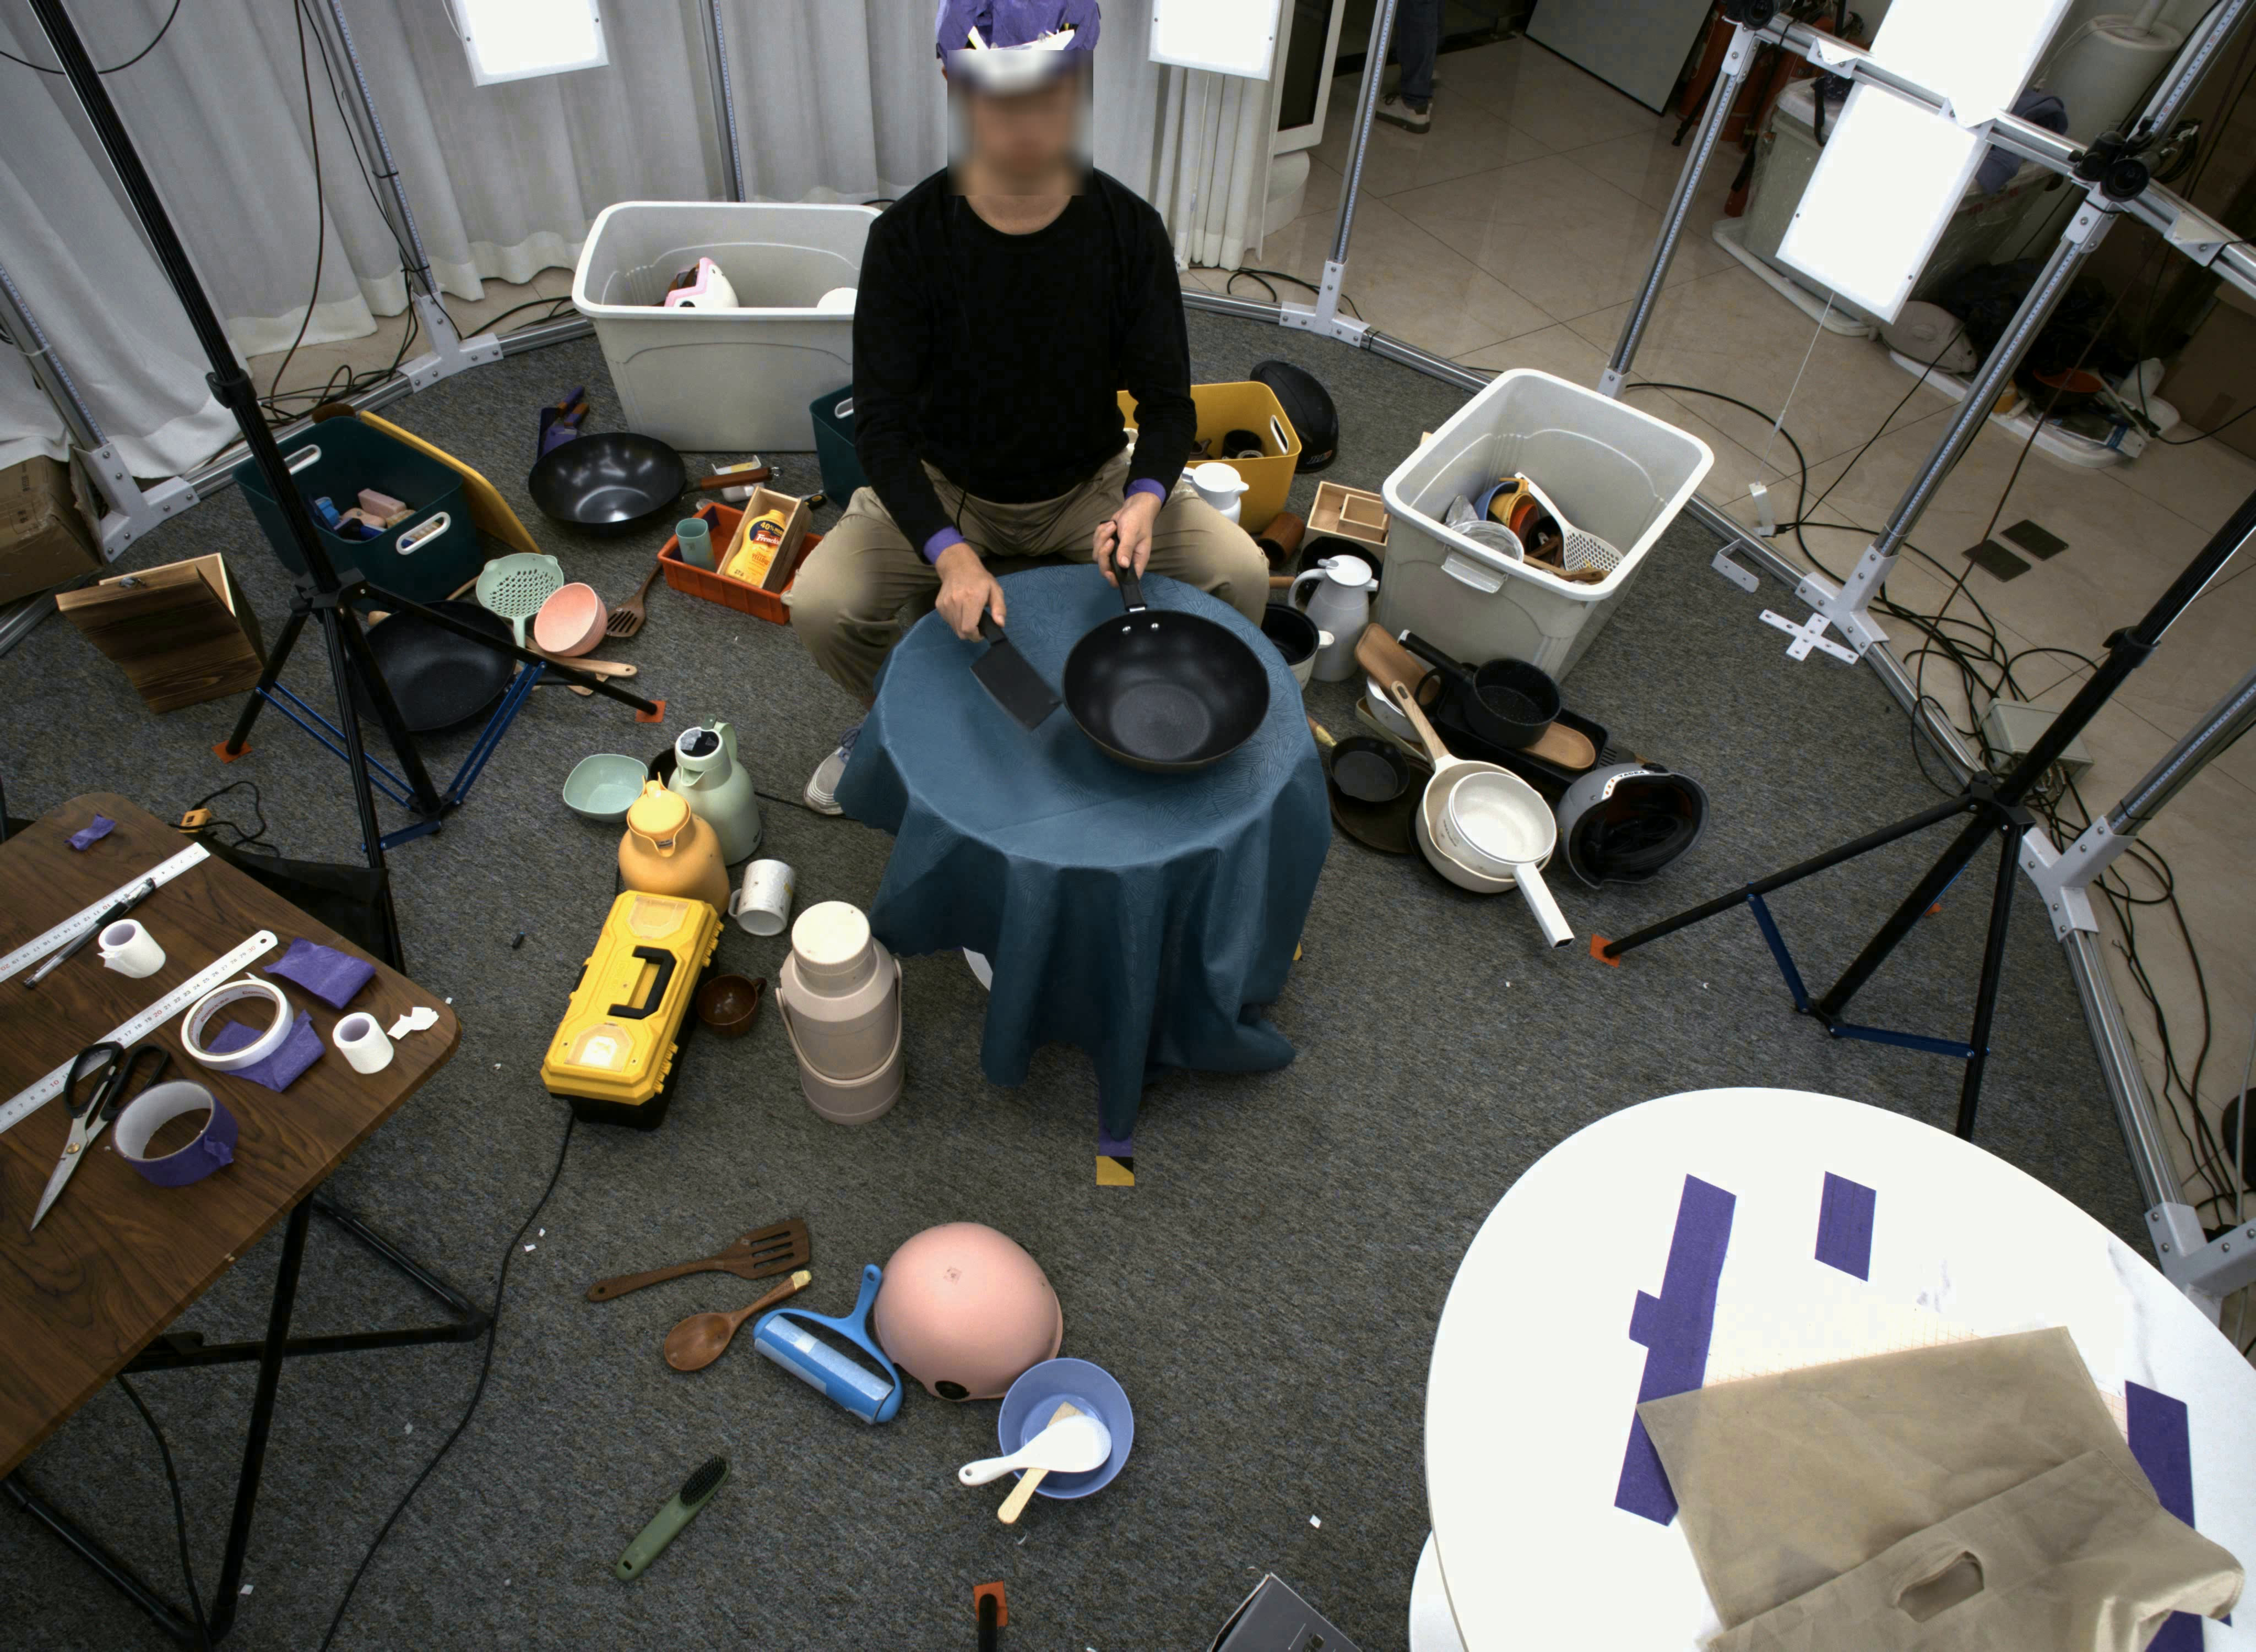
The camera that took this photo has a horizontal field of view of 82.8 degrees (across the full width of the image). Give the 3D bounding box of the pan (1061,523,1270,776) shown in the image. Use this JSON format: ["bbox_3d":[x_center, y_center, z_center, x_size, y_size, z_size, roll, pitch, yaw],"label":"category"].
[{"bbox_3d":[0.026,-0.243,1.811,0.288,0.085,0.474,-9,55,-12],"label":"pan"}]

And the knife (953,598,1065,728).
[{"bbox_3d":[-0.174,-0.229,1.752,0.081,0.020,0.309,-41,47,5],"label":"knife"}]
